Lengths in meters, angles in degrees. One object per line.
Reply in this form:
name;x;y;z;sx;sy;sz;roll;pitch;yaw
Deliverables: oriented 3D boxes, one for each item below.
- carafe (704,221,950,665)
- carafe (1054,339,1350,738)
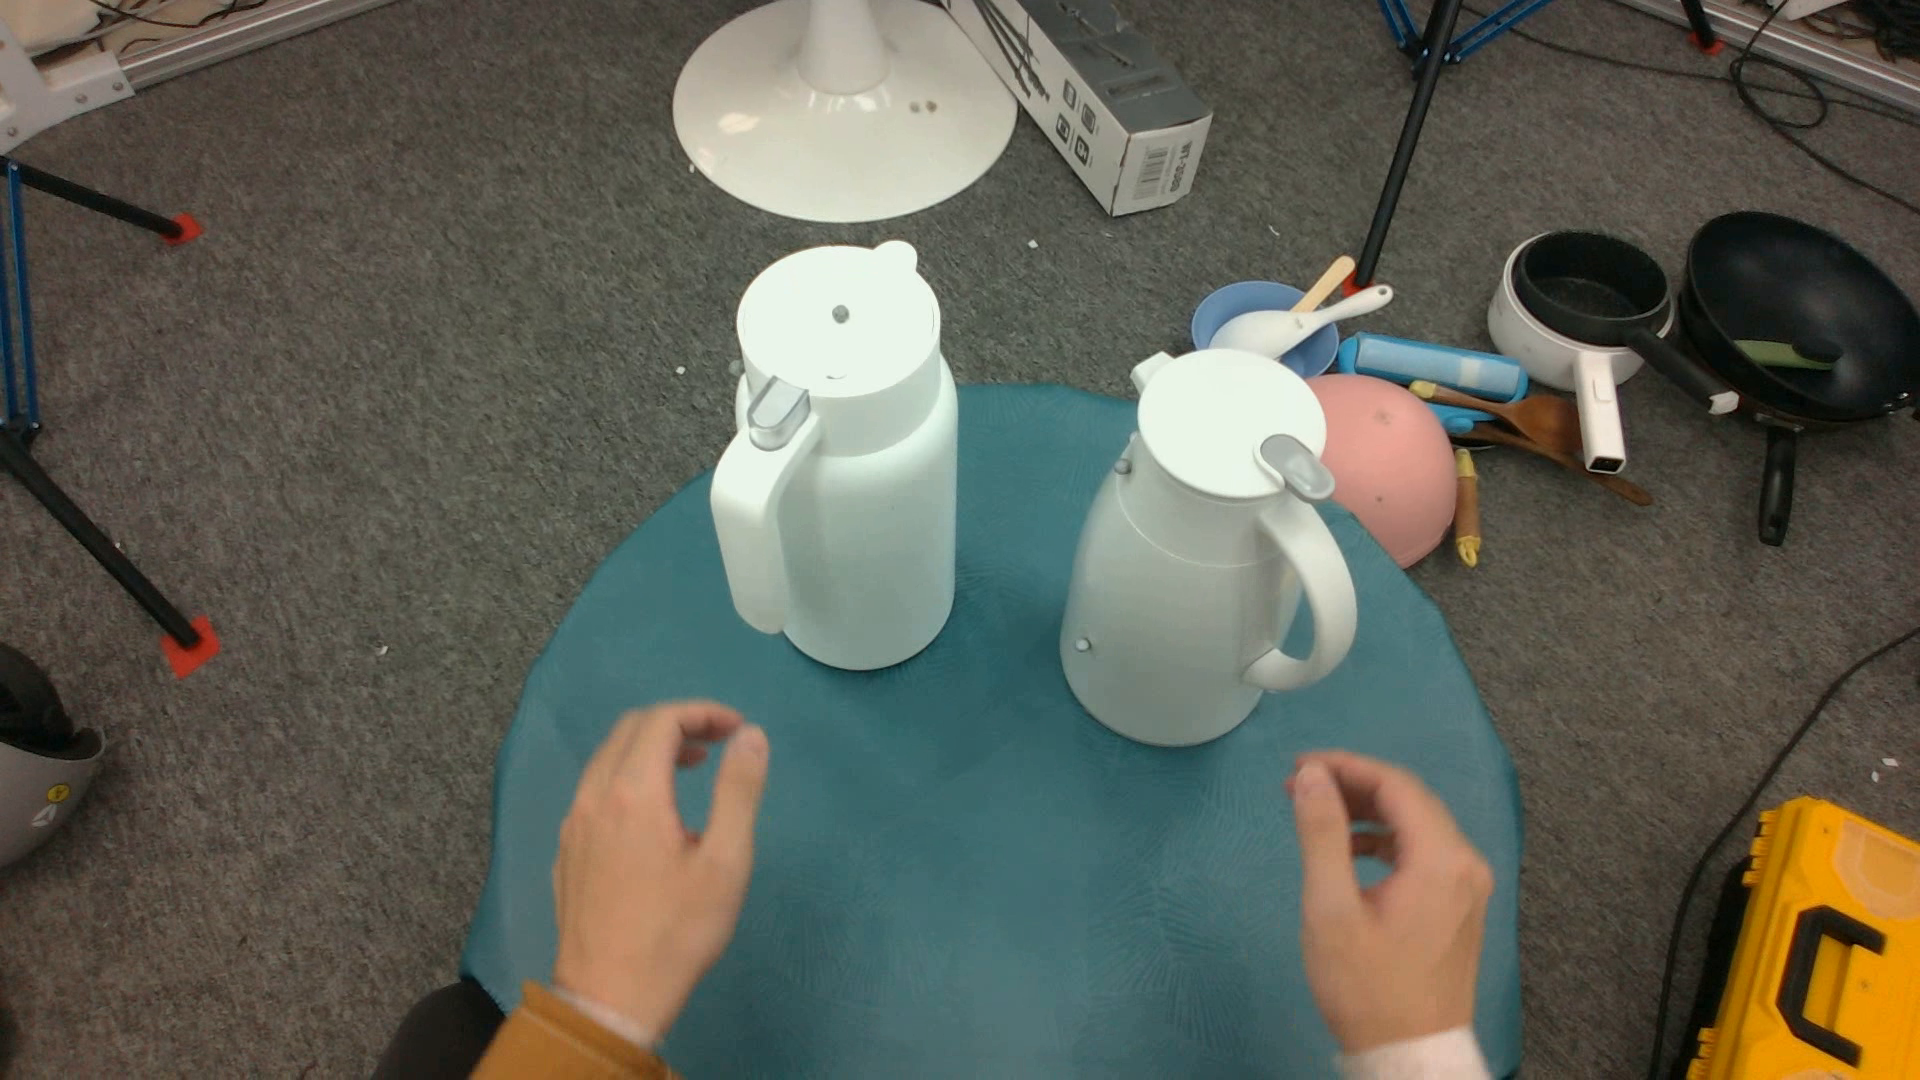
carafe;-0.071;-0.027;0.764;0.124;0.267;0.173;23;59;11
carafe;0.139;0.011;0.757;0.133;0.247;0.168;-32;64;-20
